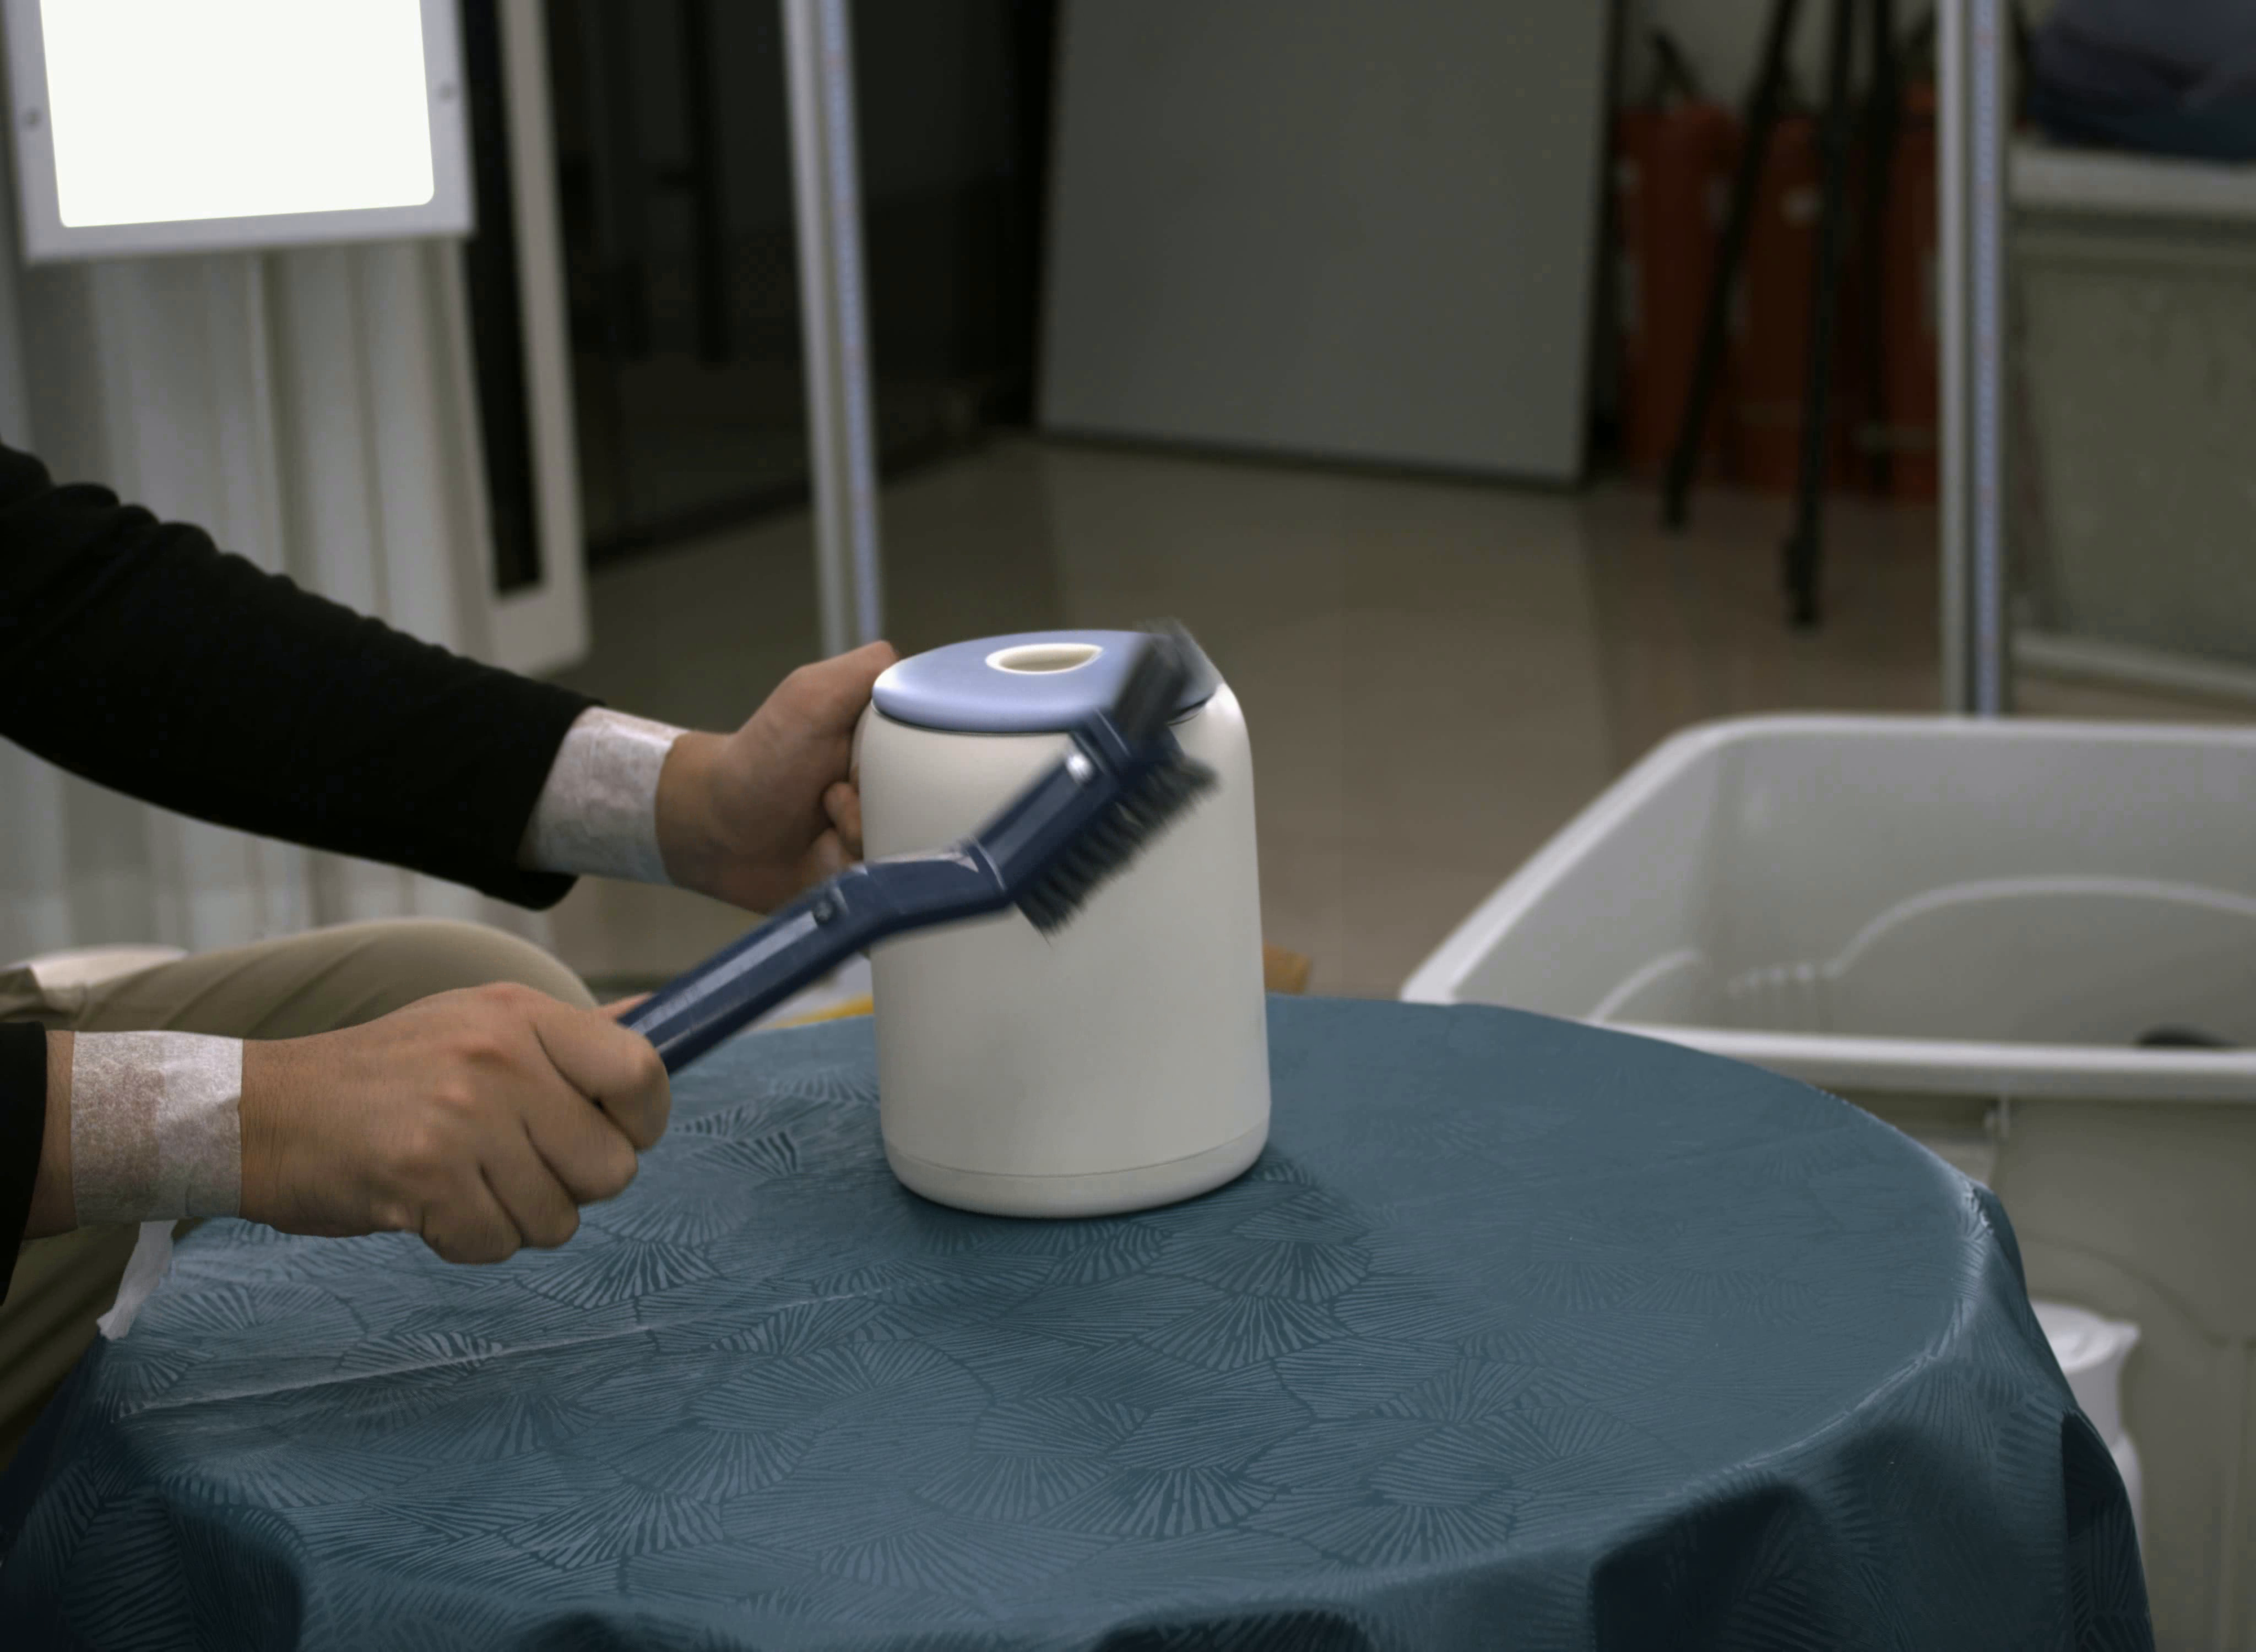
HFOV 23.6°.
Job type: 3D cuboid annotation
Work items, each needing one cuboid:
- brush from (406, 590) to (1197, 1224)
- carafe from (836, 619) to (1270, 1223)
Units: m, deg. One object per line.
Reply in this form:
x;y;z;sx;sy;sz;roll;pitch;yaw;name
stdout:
-0.100;0.025;1.620;0.270;0.095;0.034;-29;51;-9;brush
-0.036;0.027;1.802;0.129;0.184;0.193;-13;15;-36;carafe
